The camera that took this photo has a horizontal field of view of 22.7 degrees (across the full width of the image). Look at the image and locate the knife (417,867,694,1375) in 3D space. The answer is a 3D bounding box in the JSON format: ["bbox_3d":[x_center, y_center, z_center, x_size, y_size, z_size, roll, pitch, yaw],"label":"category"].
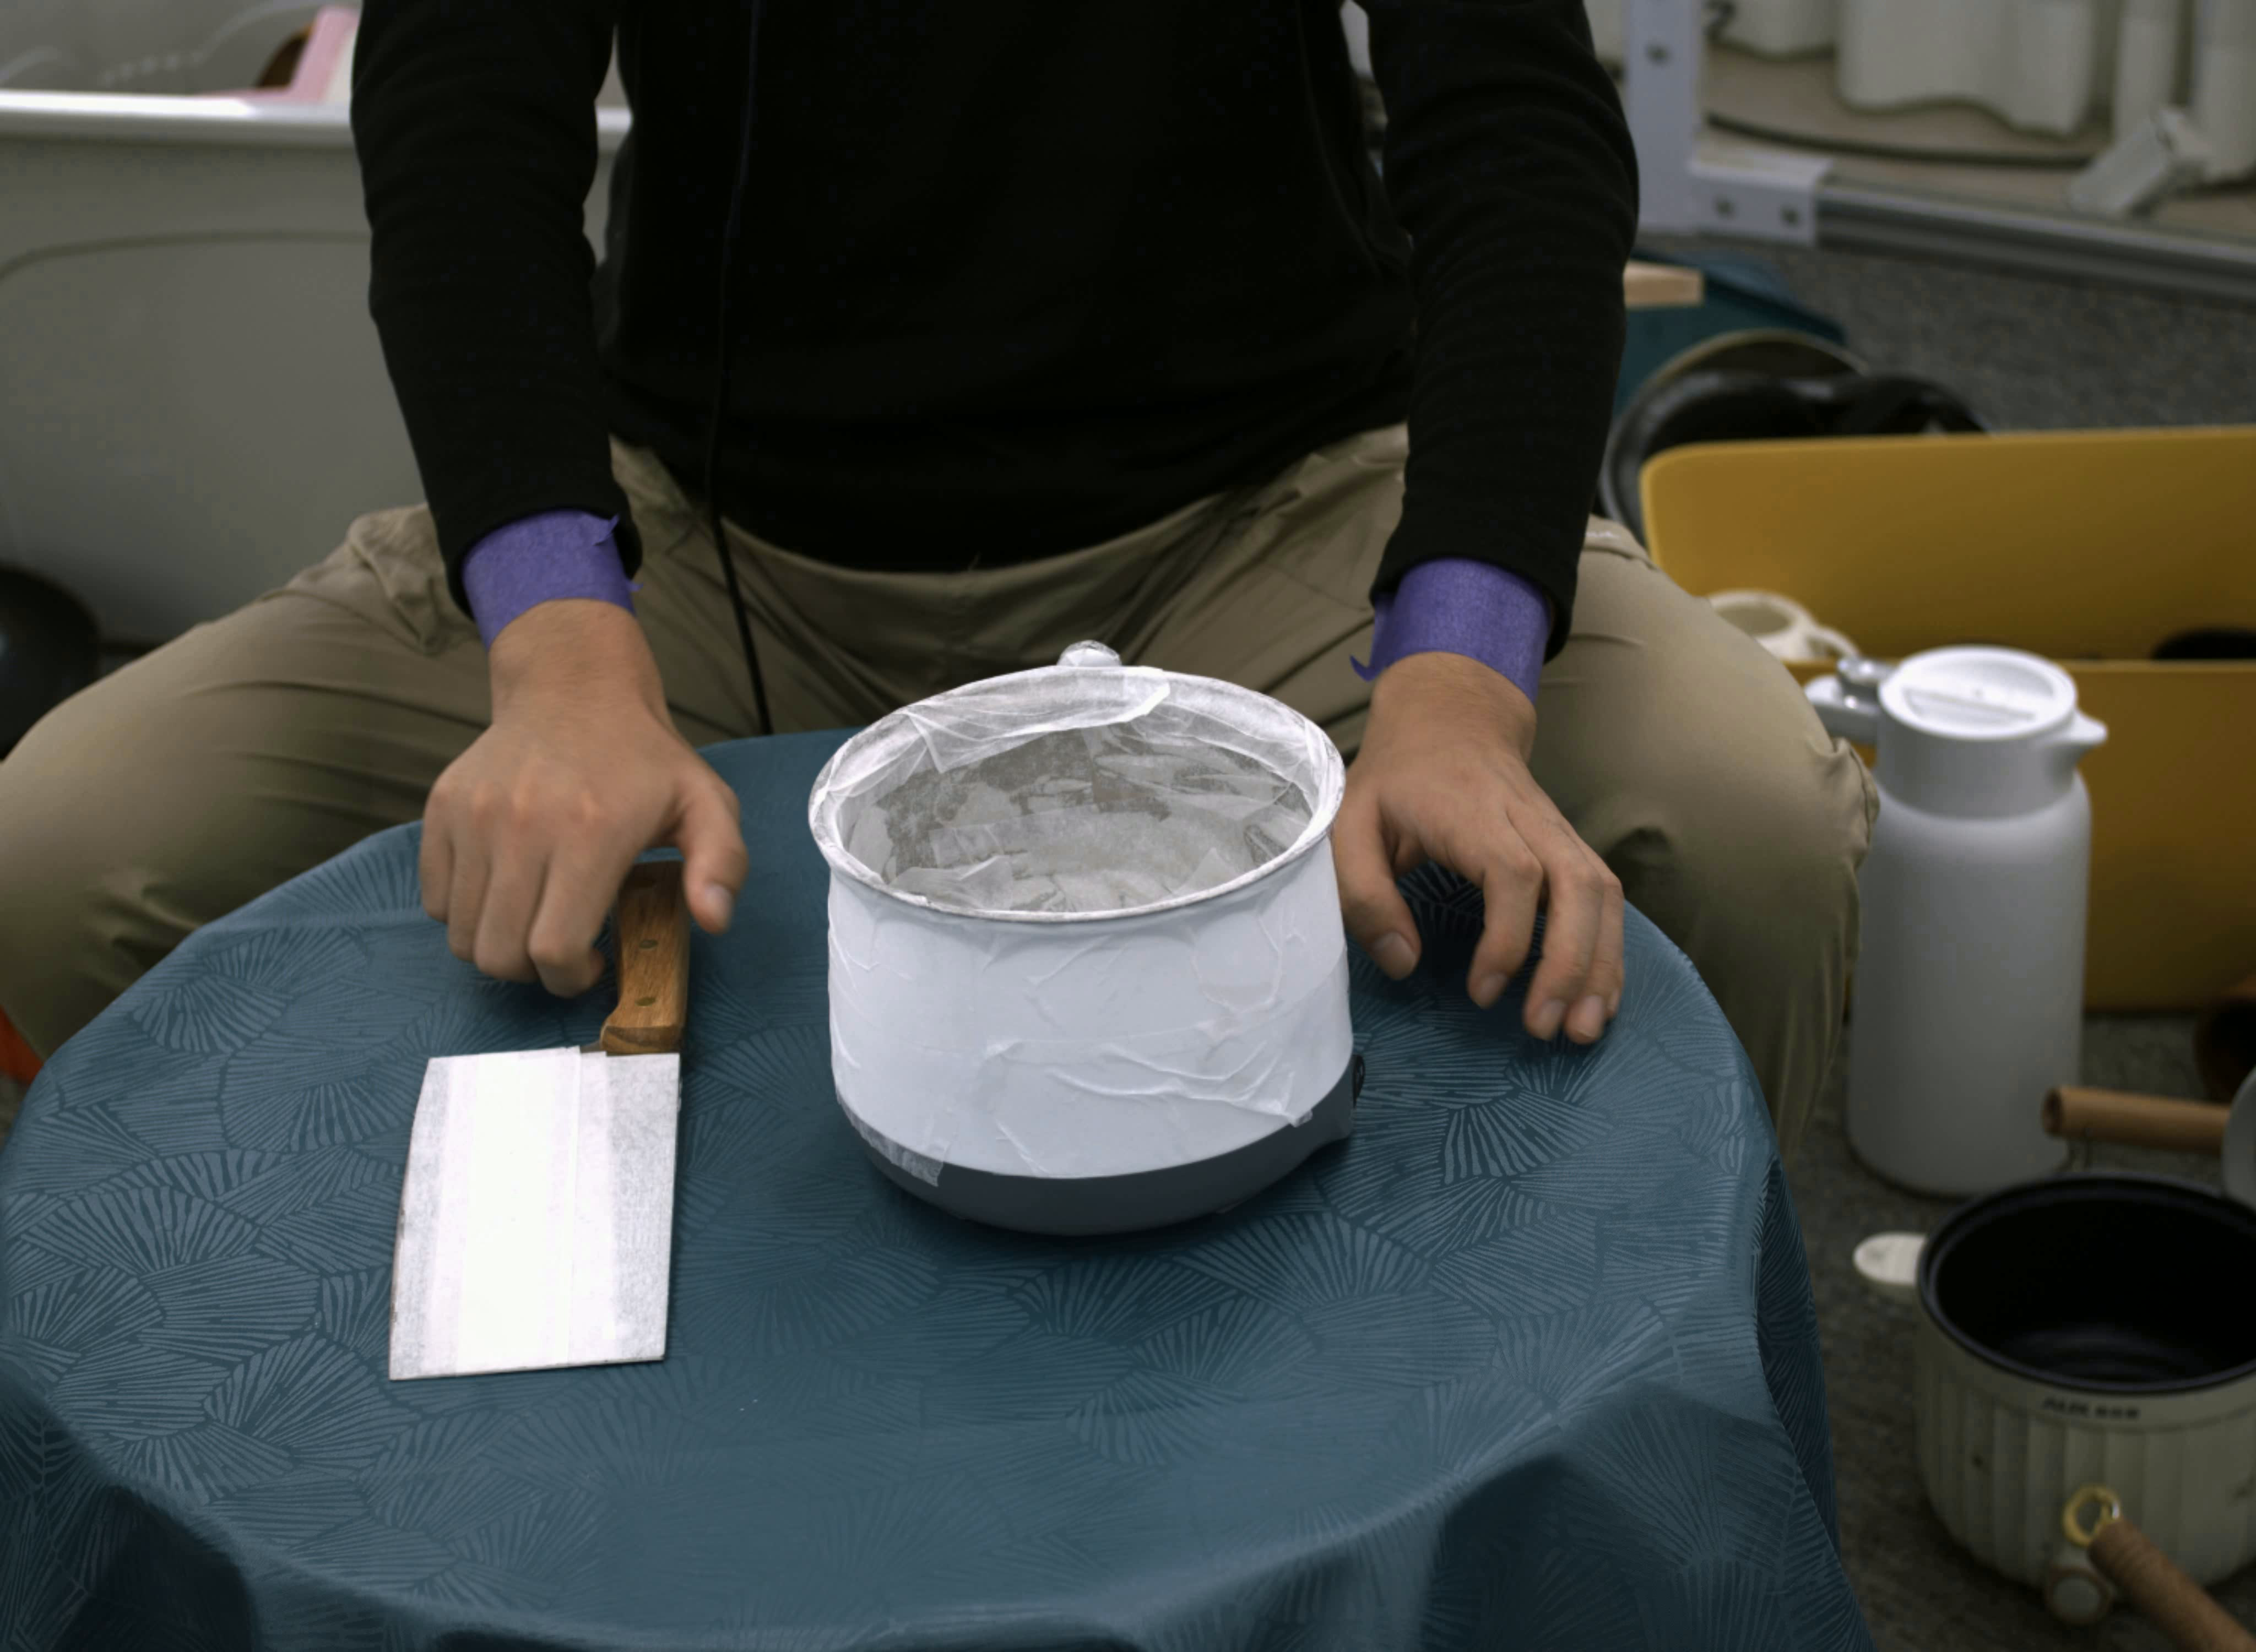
[{"bbox_3d":[-0.195,0.098,1.909,0.092,0.021,0.310,-3,29,-1],"label":"knife"}]

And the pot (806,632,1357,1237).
[{"bbox_3d":[-0.014,0.029,1.889,0.178,0.135,0.237,-2,28,1],"label":"pot"}]
